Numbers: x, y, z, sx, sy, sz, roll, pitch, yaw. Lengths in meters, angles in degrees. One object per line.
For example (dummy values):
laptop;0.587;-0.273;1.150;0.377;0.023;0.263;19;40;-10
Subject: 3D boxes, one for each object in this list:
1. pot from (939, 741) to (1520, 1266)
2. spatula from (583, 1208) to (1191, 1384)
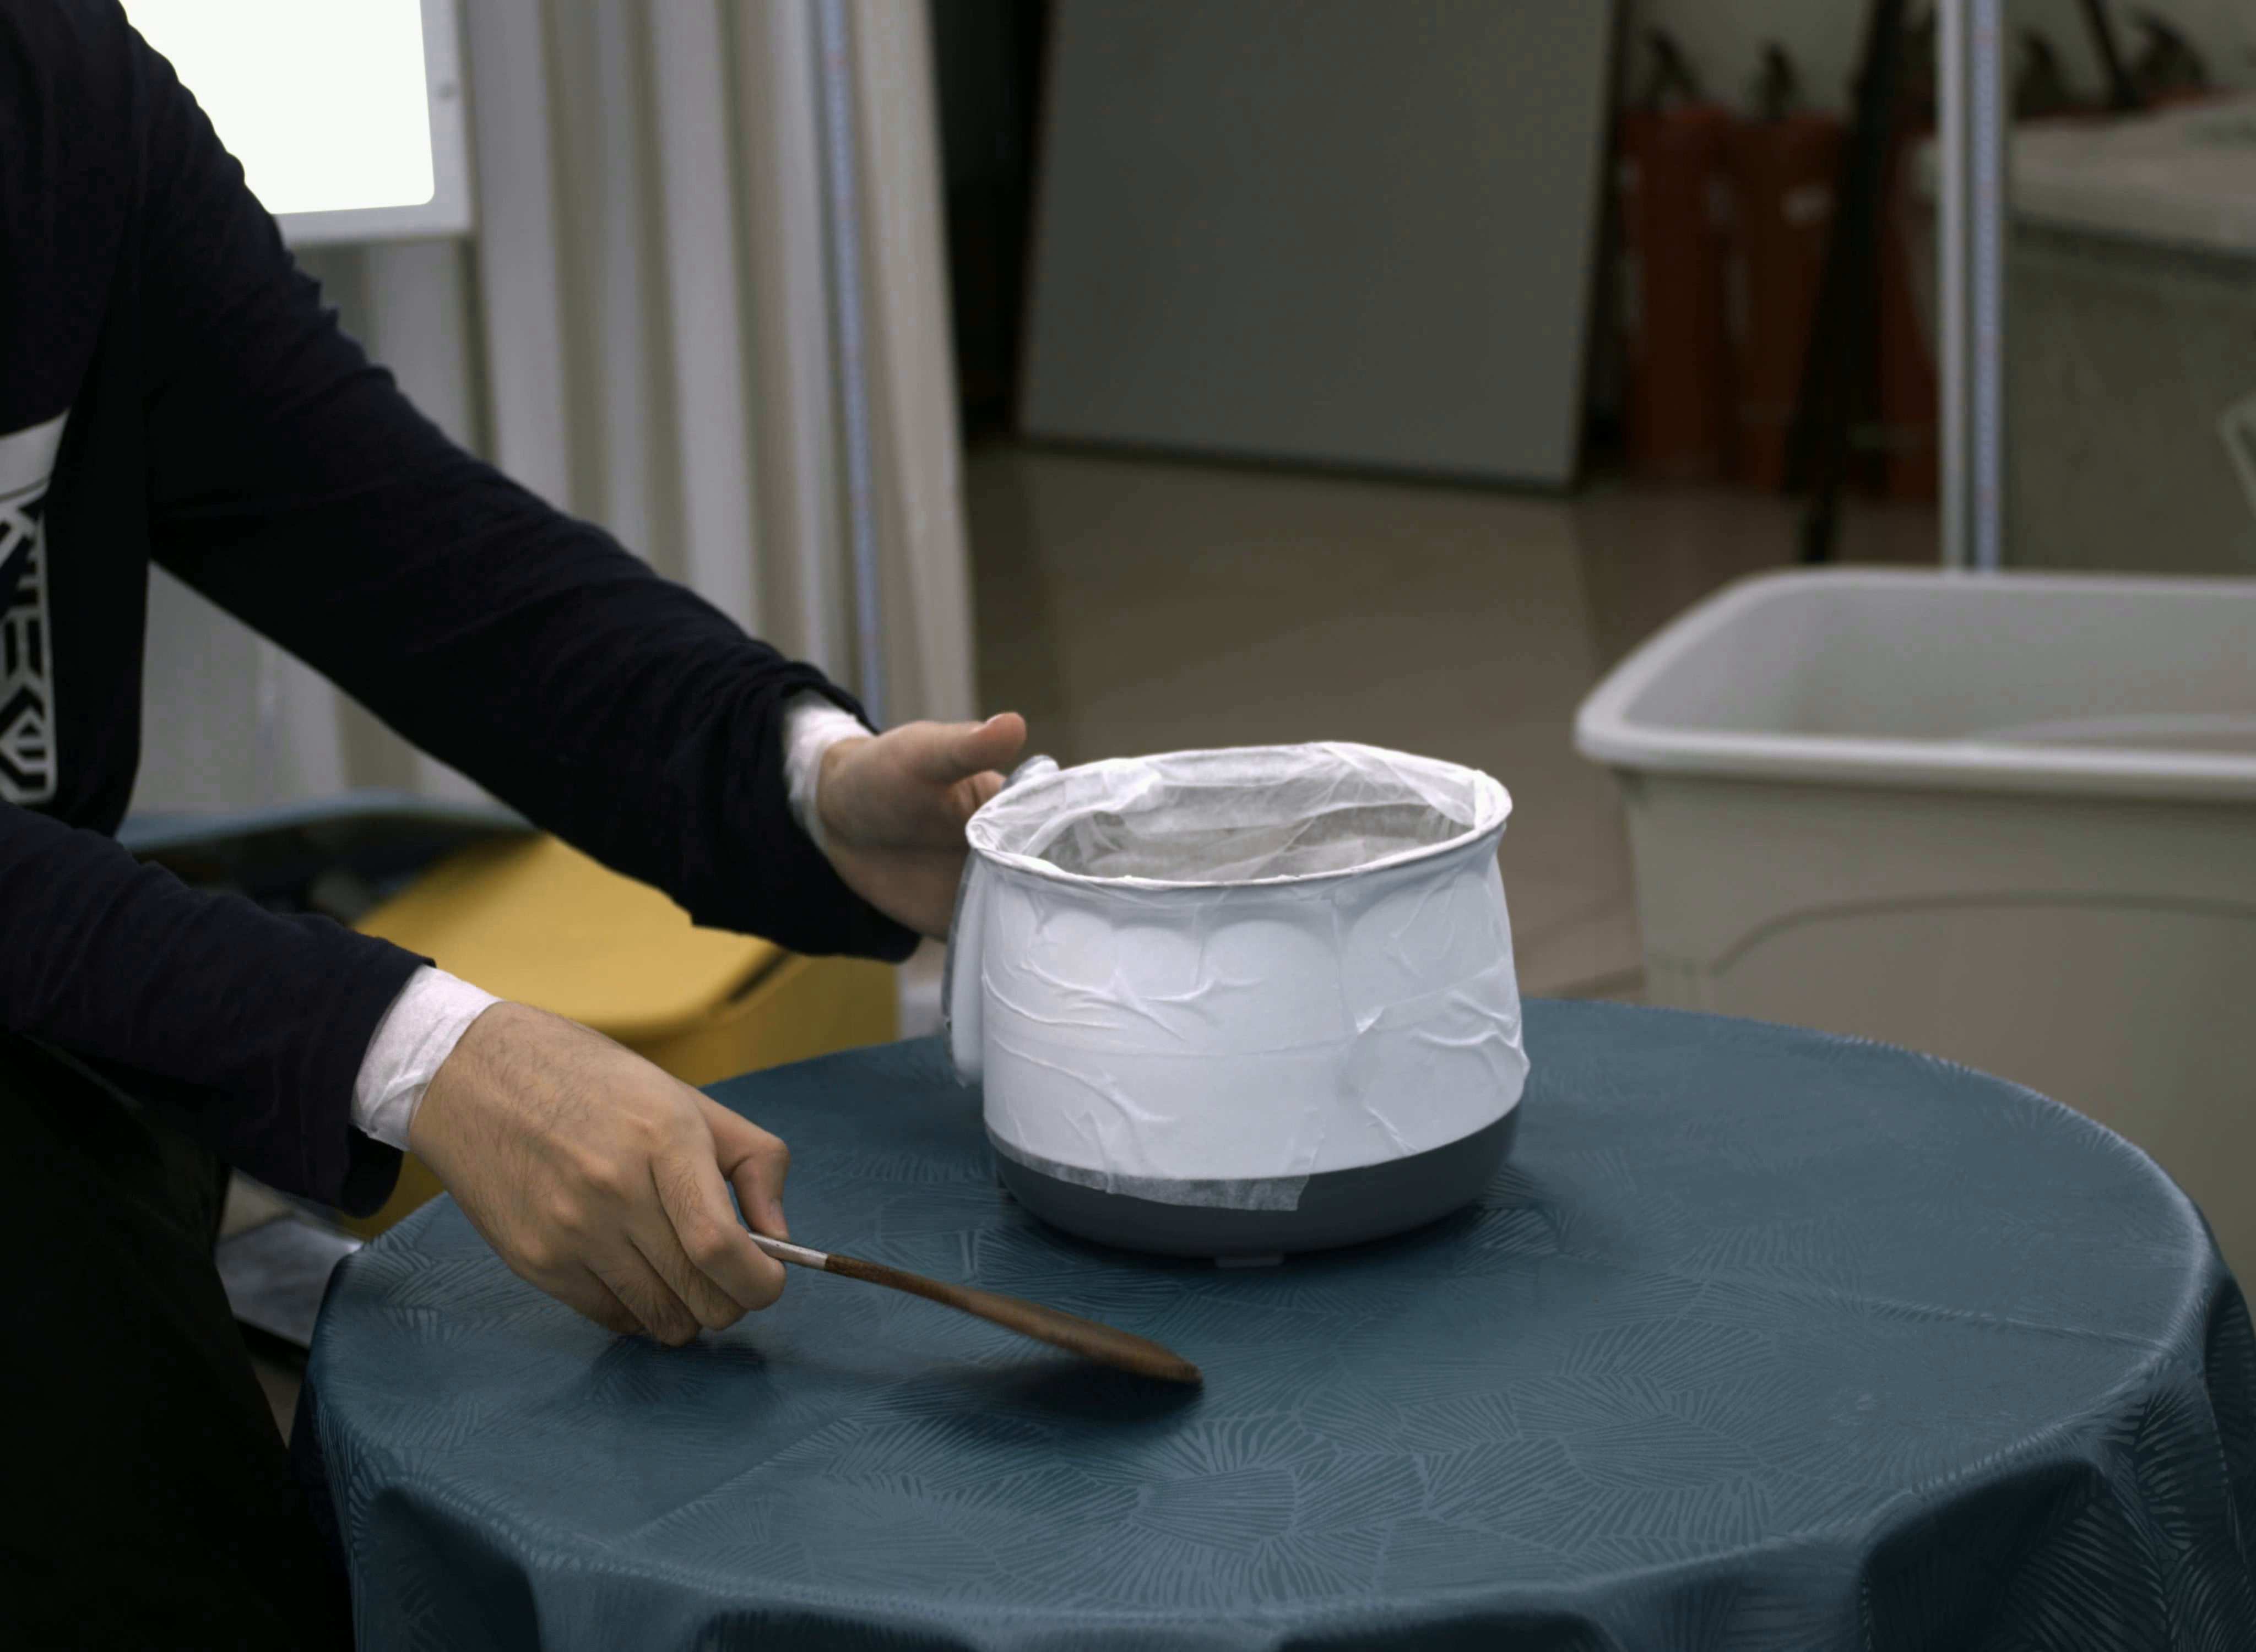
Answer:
pot;0.020;0.051;1.760;0.175;0.138;0.236;-12;17;-41
spatula;-0.074;0.139;1.617;0.217;0.009;0.071;11;-8;31
